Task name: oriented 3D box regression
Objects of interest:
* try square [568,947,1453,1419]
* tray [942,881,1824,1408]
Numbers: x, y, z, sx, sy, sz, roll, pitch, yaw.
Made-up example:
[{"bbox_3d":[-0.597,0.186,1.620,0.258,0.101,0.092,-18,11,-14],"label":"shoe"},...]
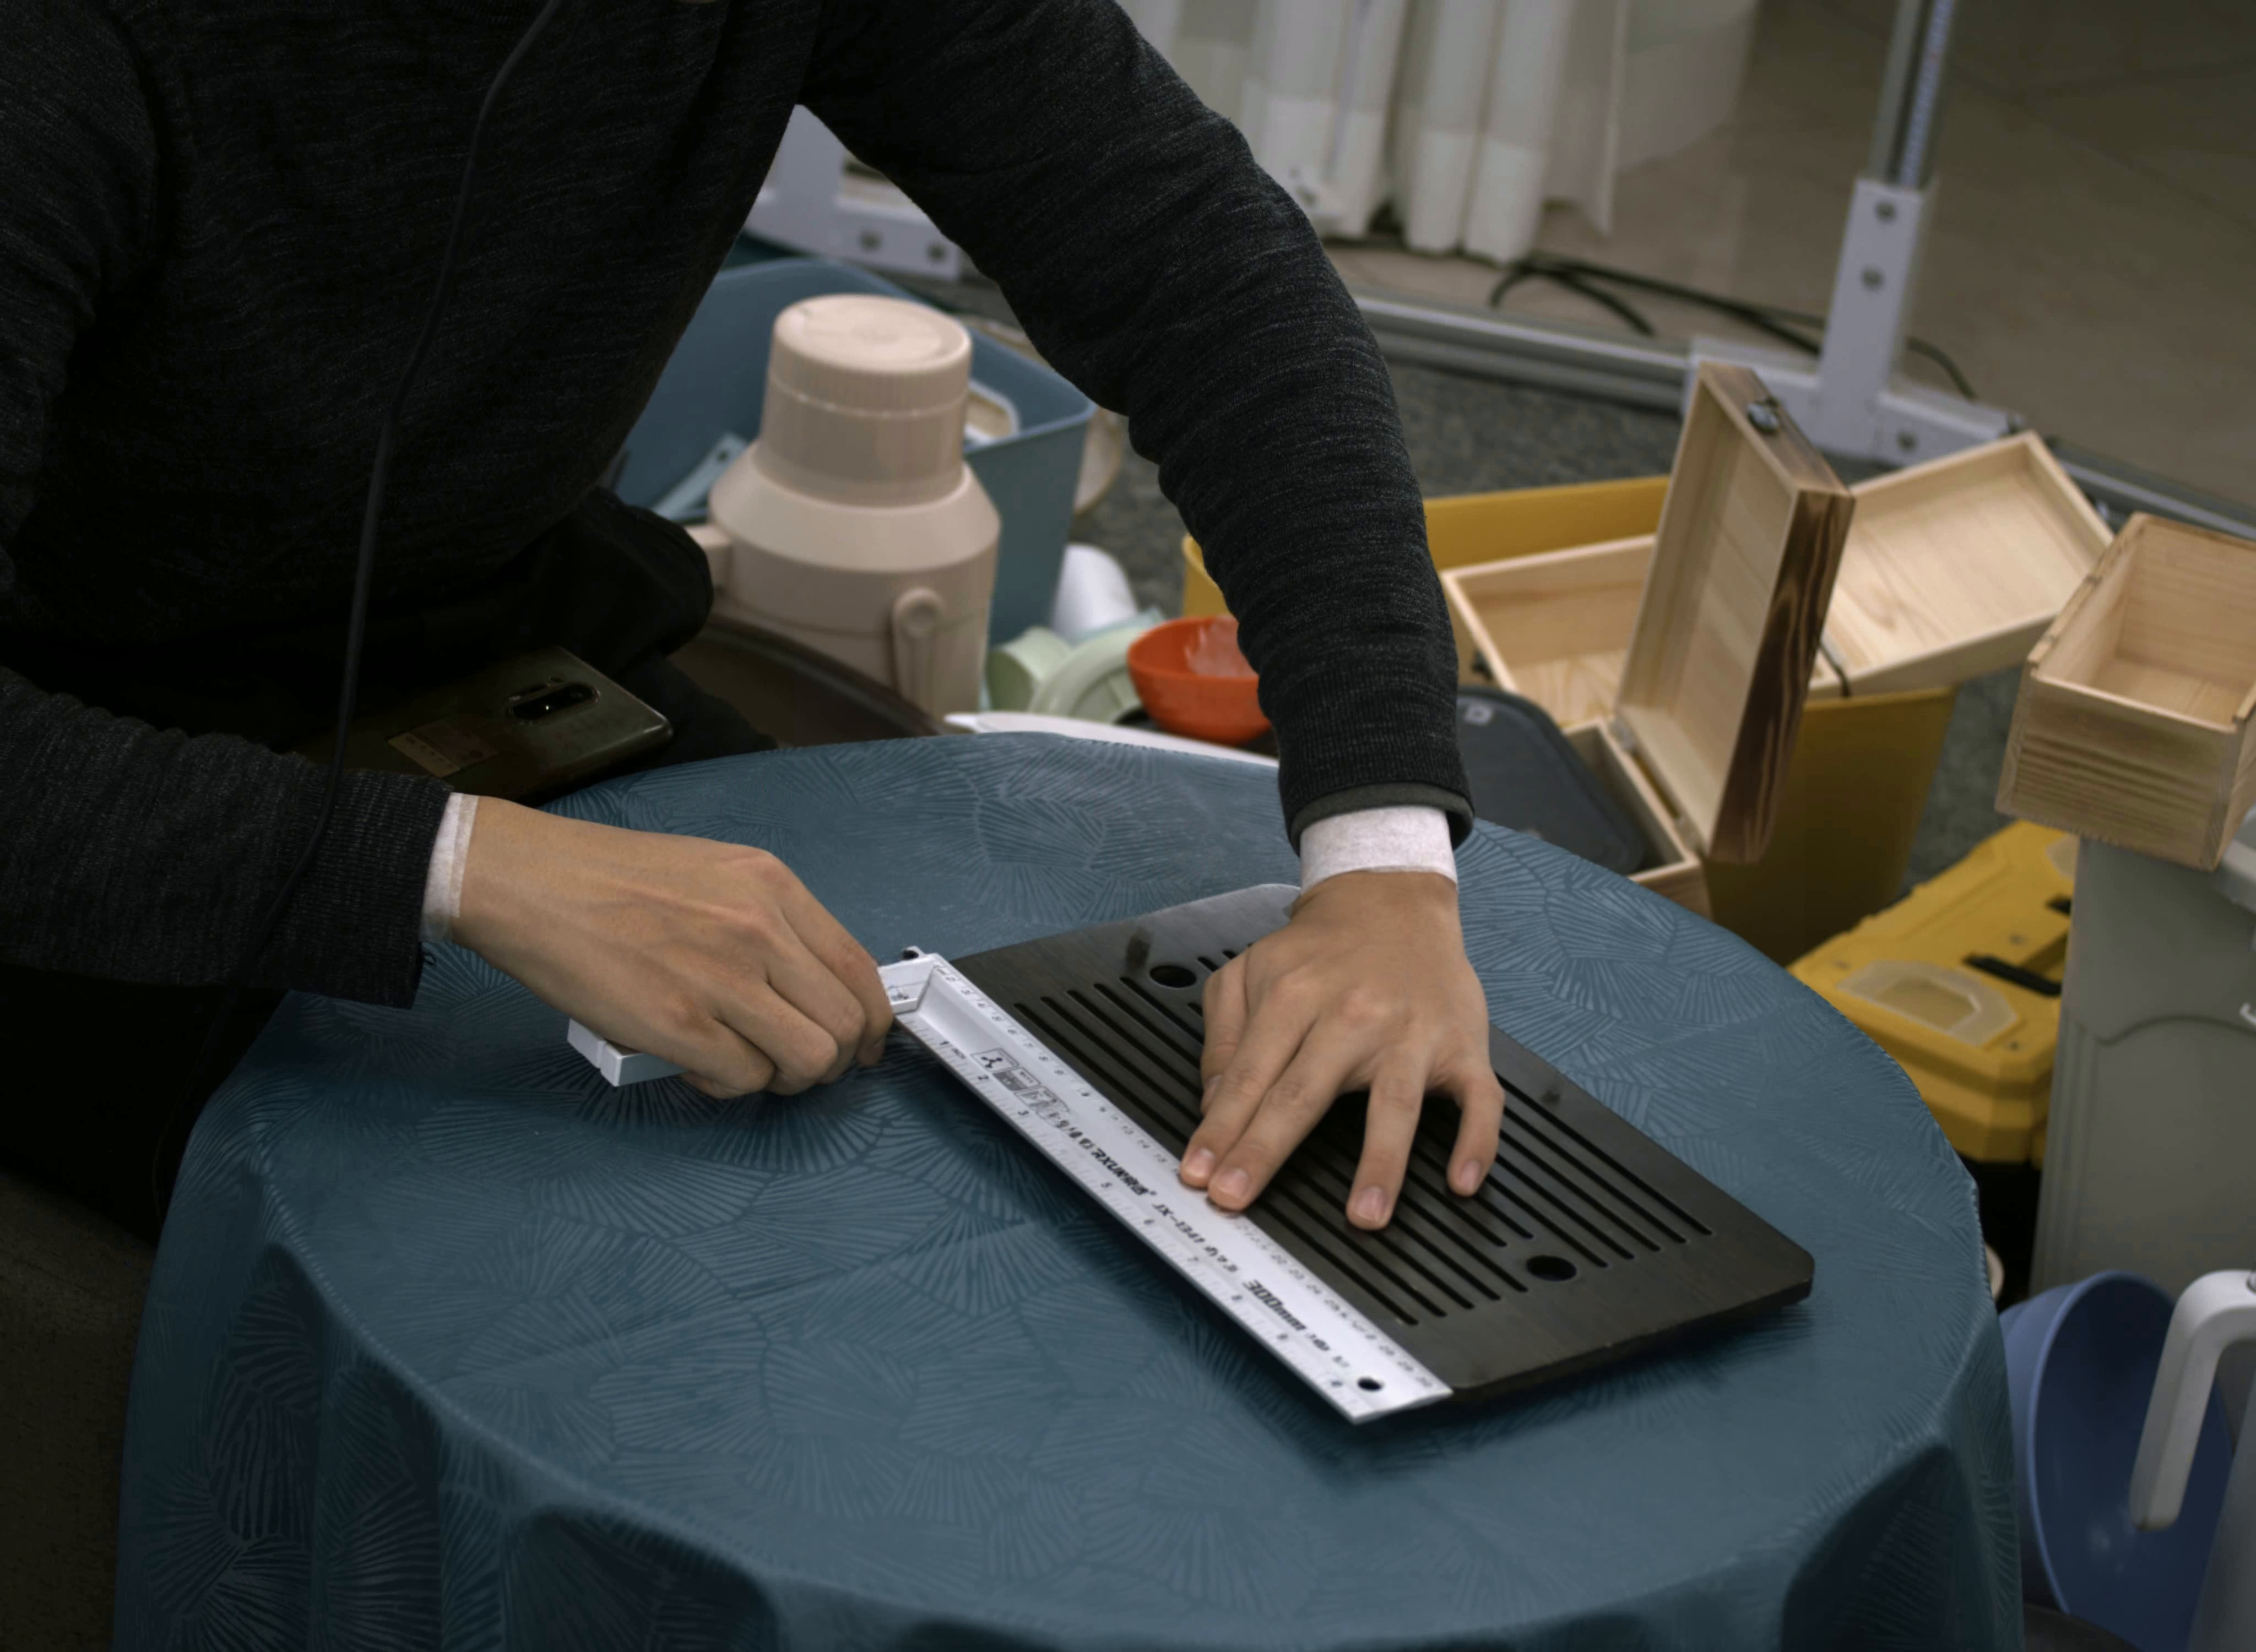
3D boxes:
[{"bbox_3d":[-0.045,0.122,1.750,0.151,0.016,0.316,-9,30,-34],"label":"try square"},{"bbox_3d":[0.082,0.106,1.835,0.169,0.018,0.308,-13,33,-33],"label":"tray"}]
